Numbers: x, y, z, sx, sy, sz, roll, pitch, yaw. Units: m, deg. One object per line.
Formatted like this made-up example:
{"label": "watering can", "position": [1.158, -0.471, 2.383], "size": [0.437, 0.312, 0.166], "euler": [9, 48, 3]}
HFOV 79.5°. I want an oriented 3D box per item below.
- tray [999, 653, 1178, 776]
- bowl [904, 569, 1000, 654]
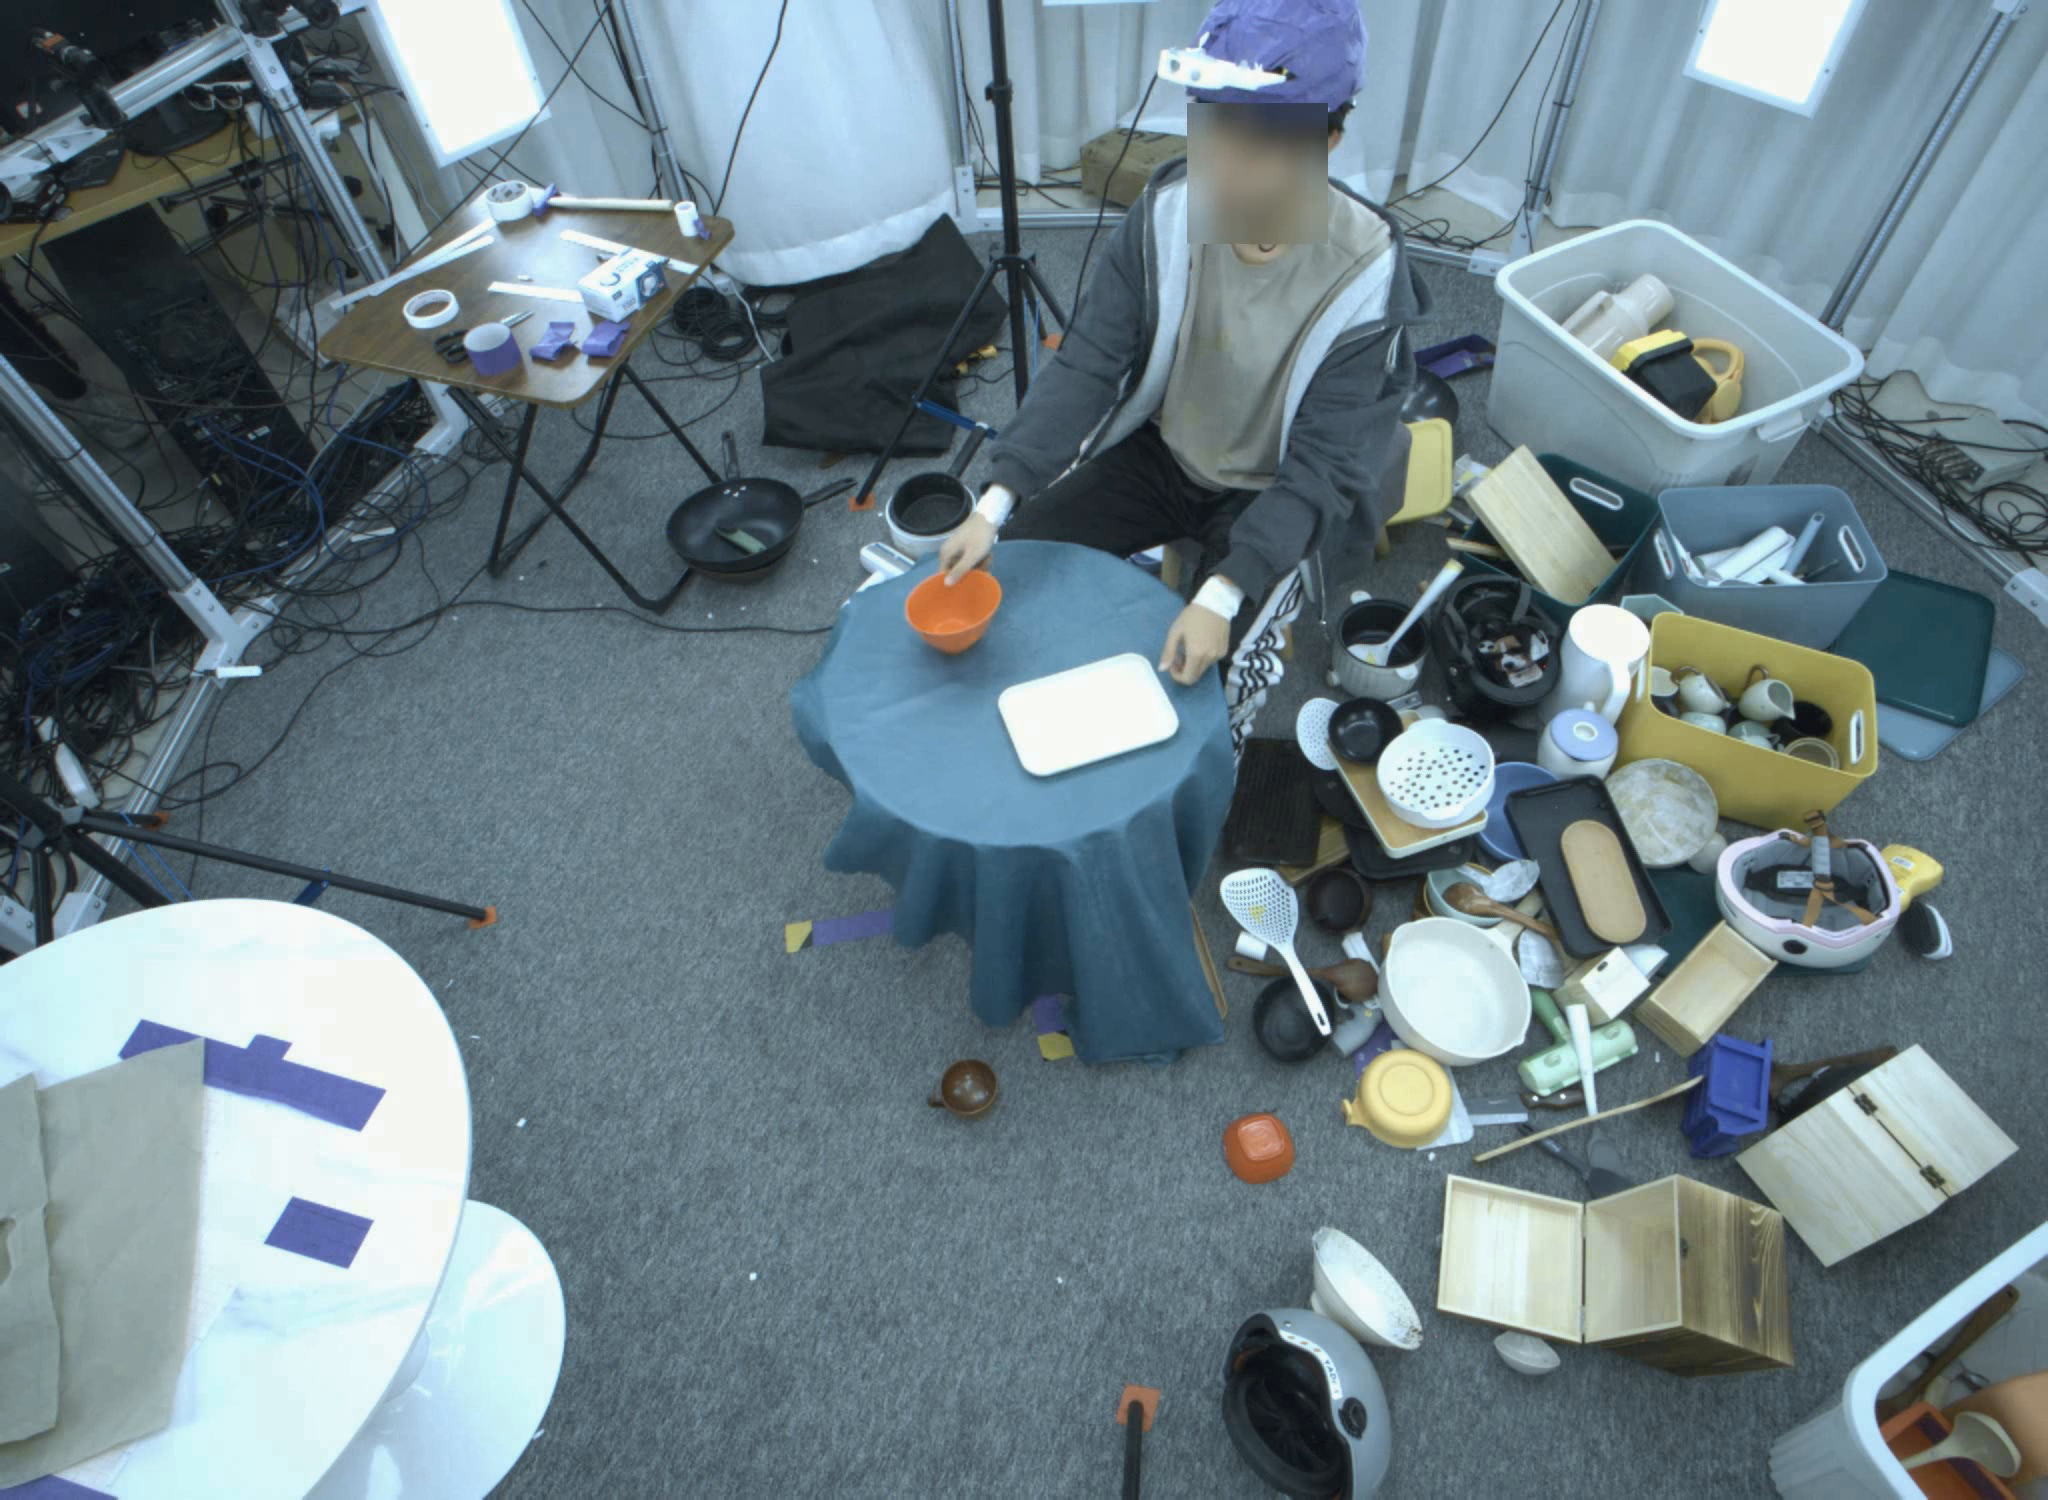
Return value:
{"label": "tray", "position": [0.094, -0.053, 1.814], "size": [0.241, 0.017, 0.168], "euler": [-17, 55, -10]}
{"label": "bowl", "position": [-0.106, -0.199, 1.873], "size": [0.148, 0.106, 0.146], "euler": [-1, 56, 3]}
